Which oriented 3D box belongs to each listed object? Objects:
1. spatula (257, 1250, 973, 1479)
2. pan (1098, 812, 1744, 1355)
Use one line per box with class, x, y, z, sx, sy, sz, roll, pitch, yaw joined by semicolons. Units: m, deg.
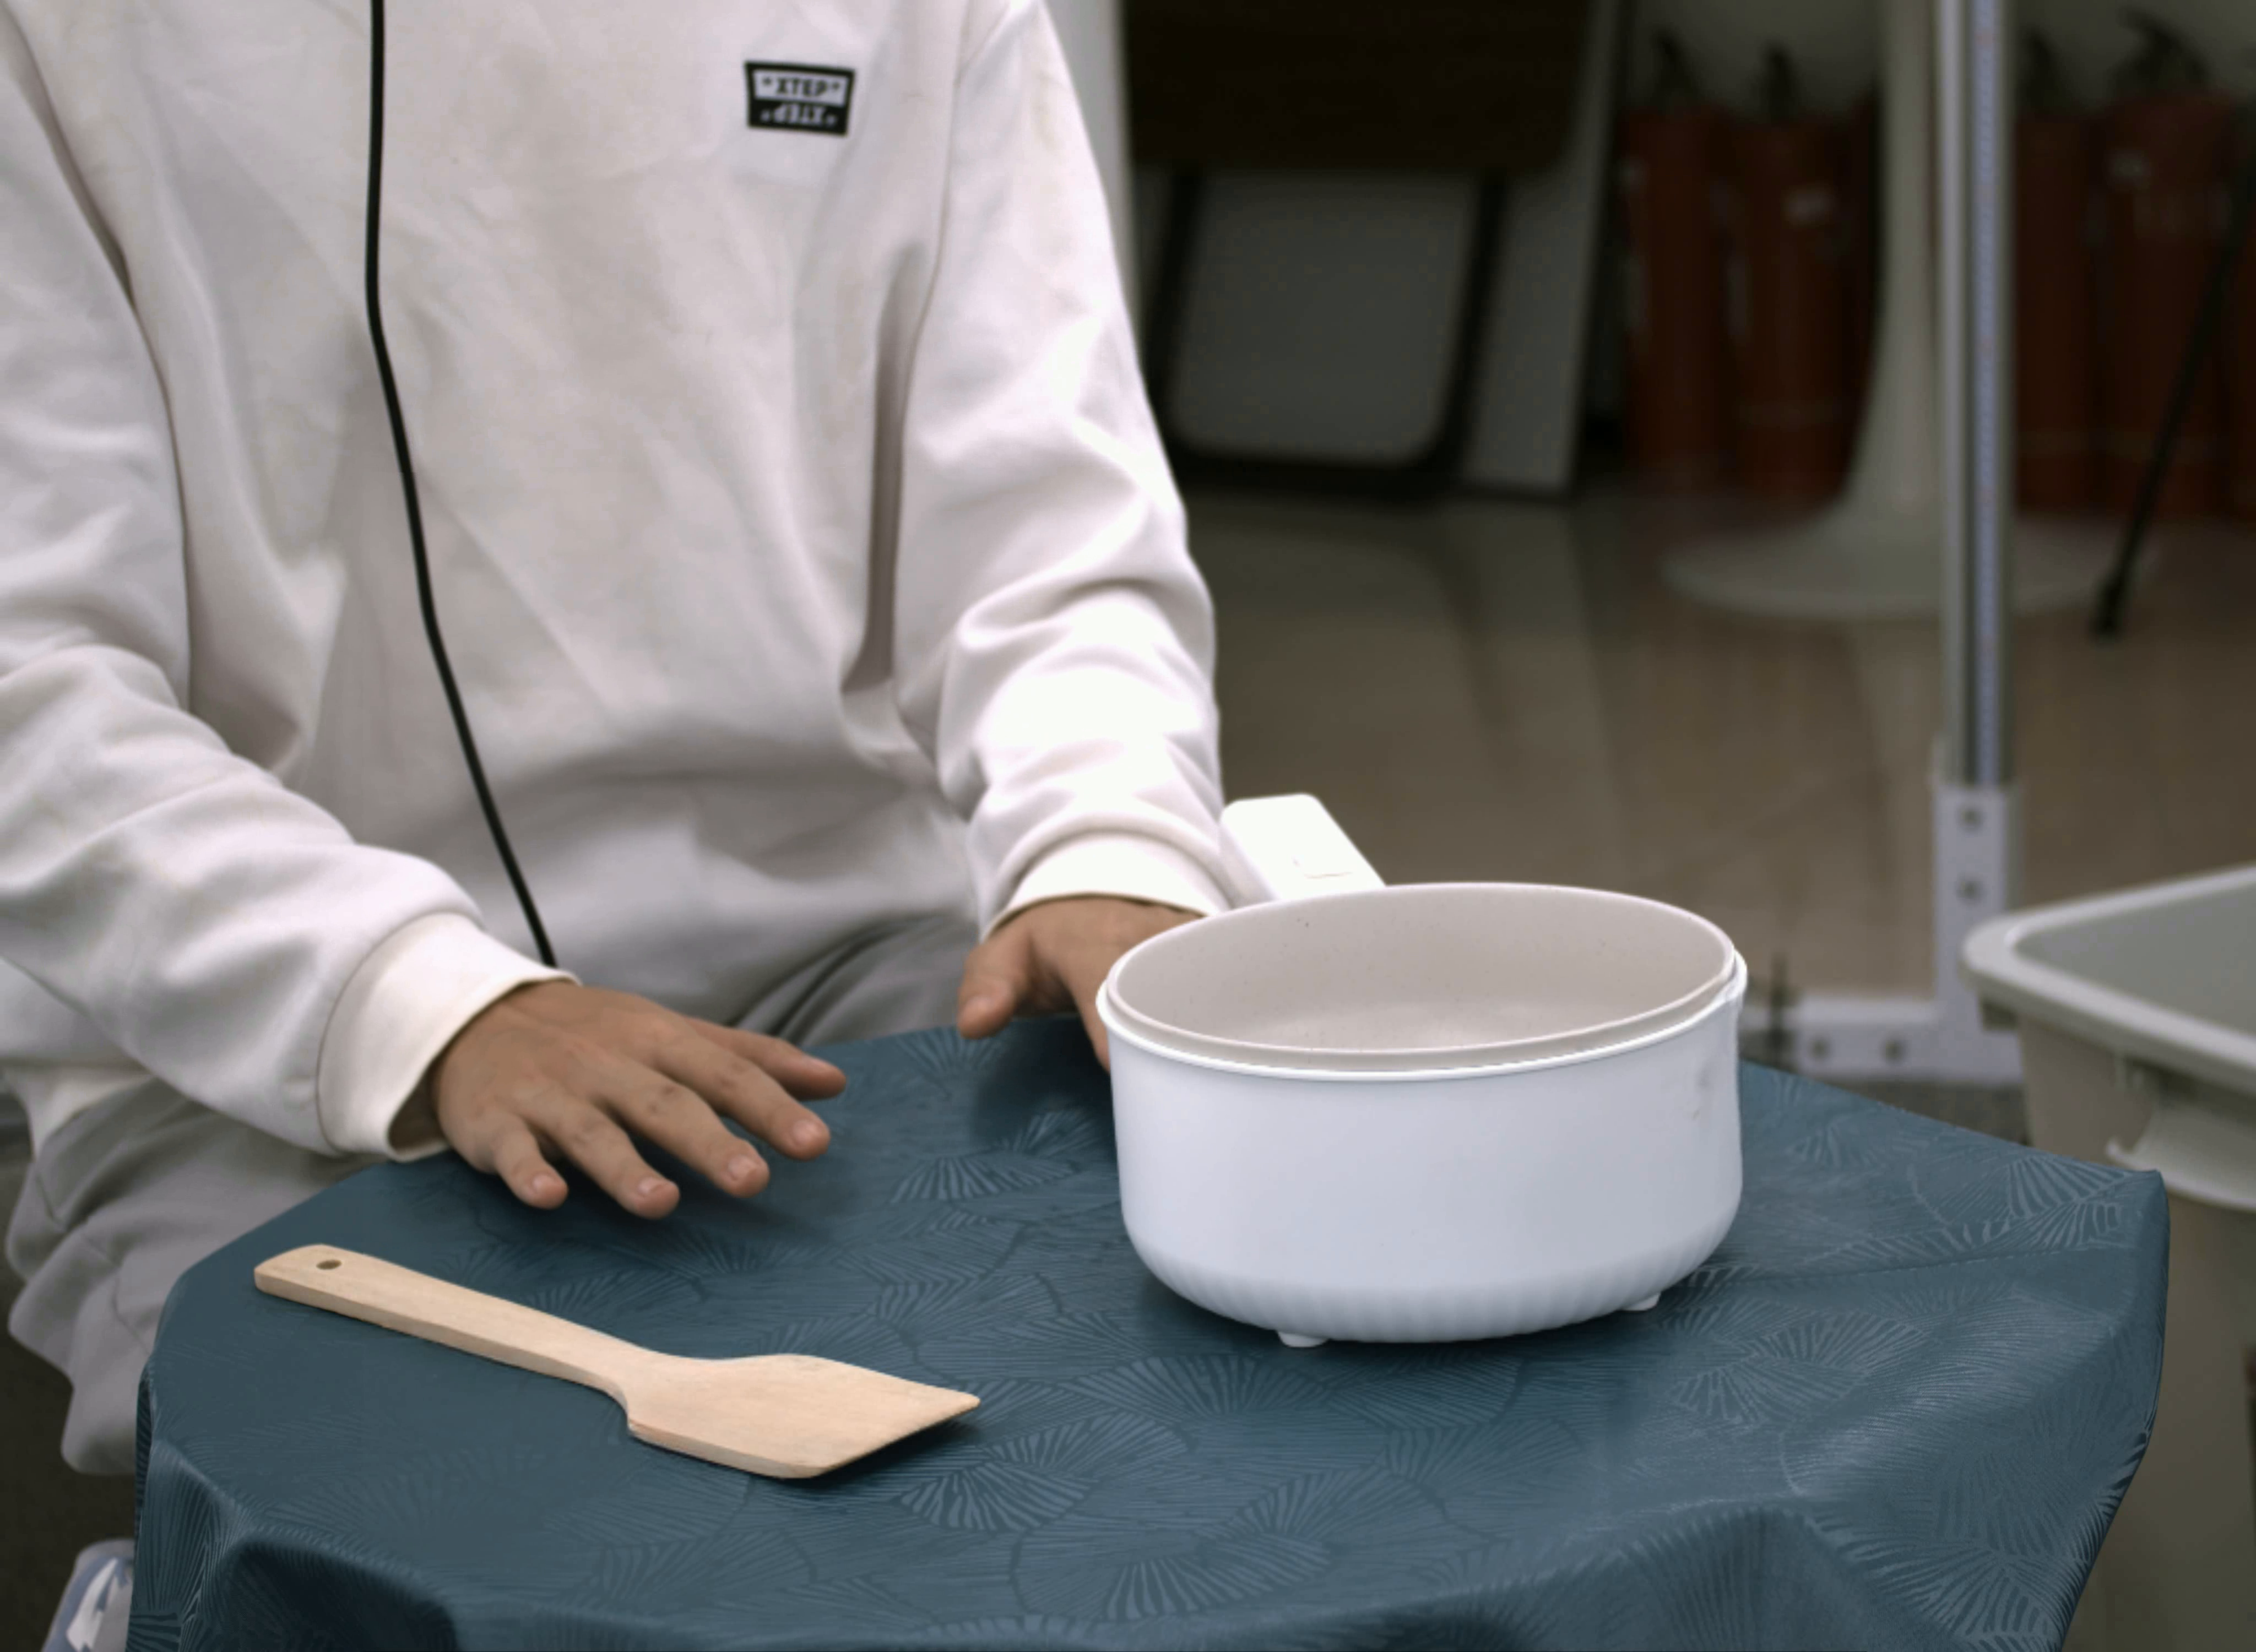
spatula;-0.170;0.160;1.642;0.296;0.011;0.071;9;20;44
pan;0.081;0.077;1.736;0.198;0.103;0.356;-7;12;-7
